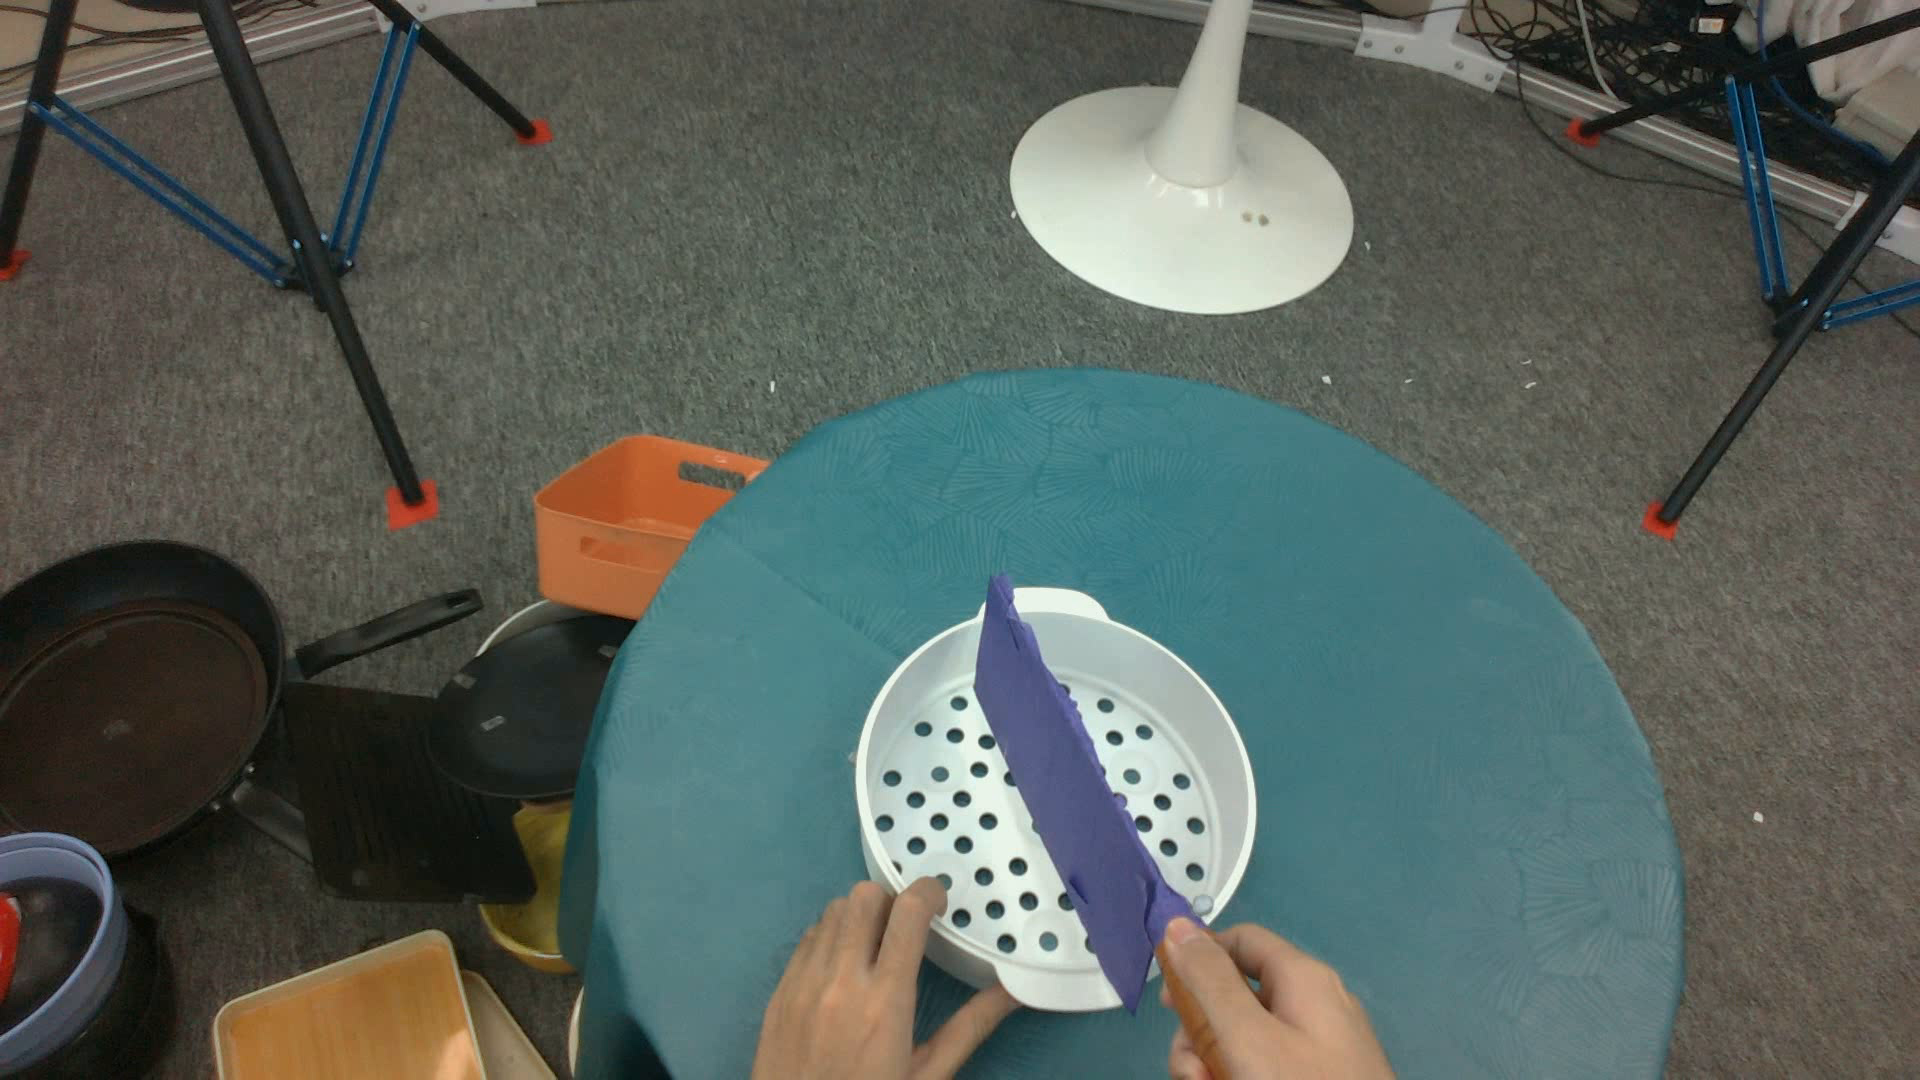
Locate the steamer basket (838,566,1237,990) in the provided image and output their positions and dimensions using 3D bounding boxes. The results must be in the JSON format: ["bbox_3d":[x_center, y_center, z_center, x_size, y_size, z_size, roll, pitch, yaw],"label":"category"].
[{"bbox_3d":[0.038,0.125,0.715,0.202,0.069,0.231,1,55,-5],"label":"steamer basket"}]

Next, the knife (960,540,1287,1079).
[{"bbox_3d":[0.060,0.136,0.617,0.032,0.103,0.316,-8,42,-17],"label":"knife"}]
